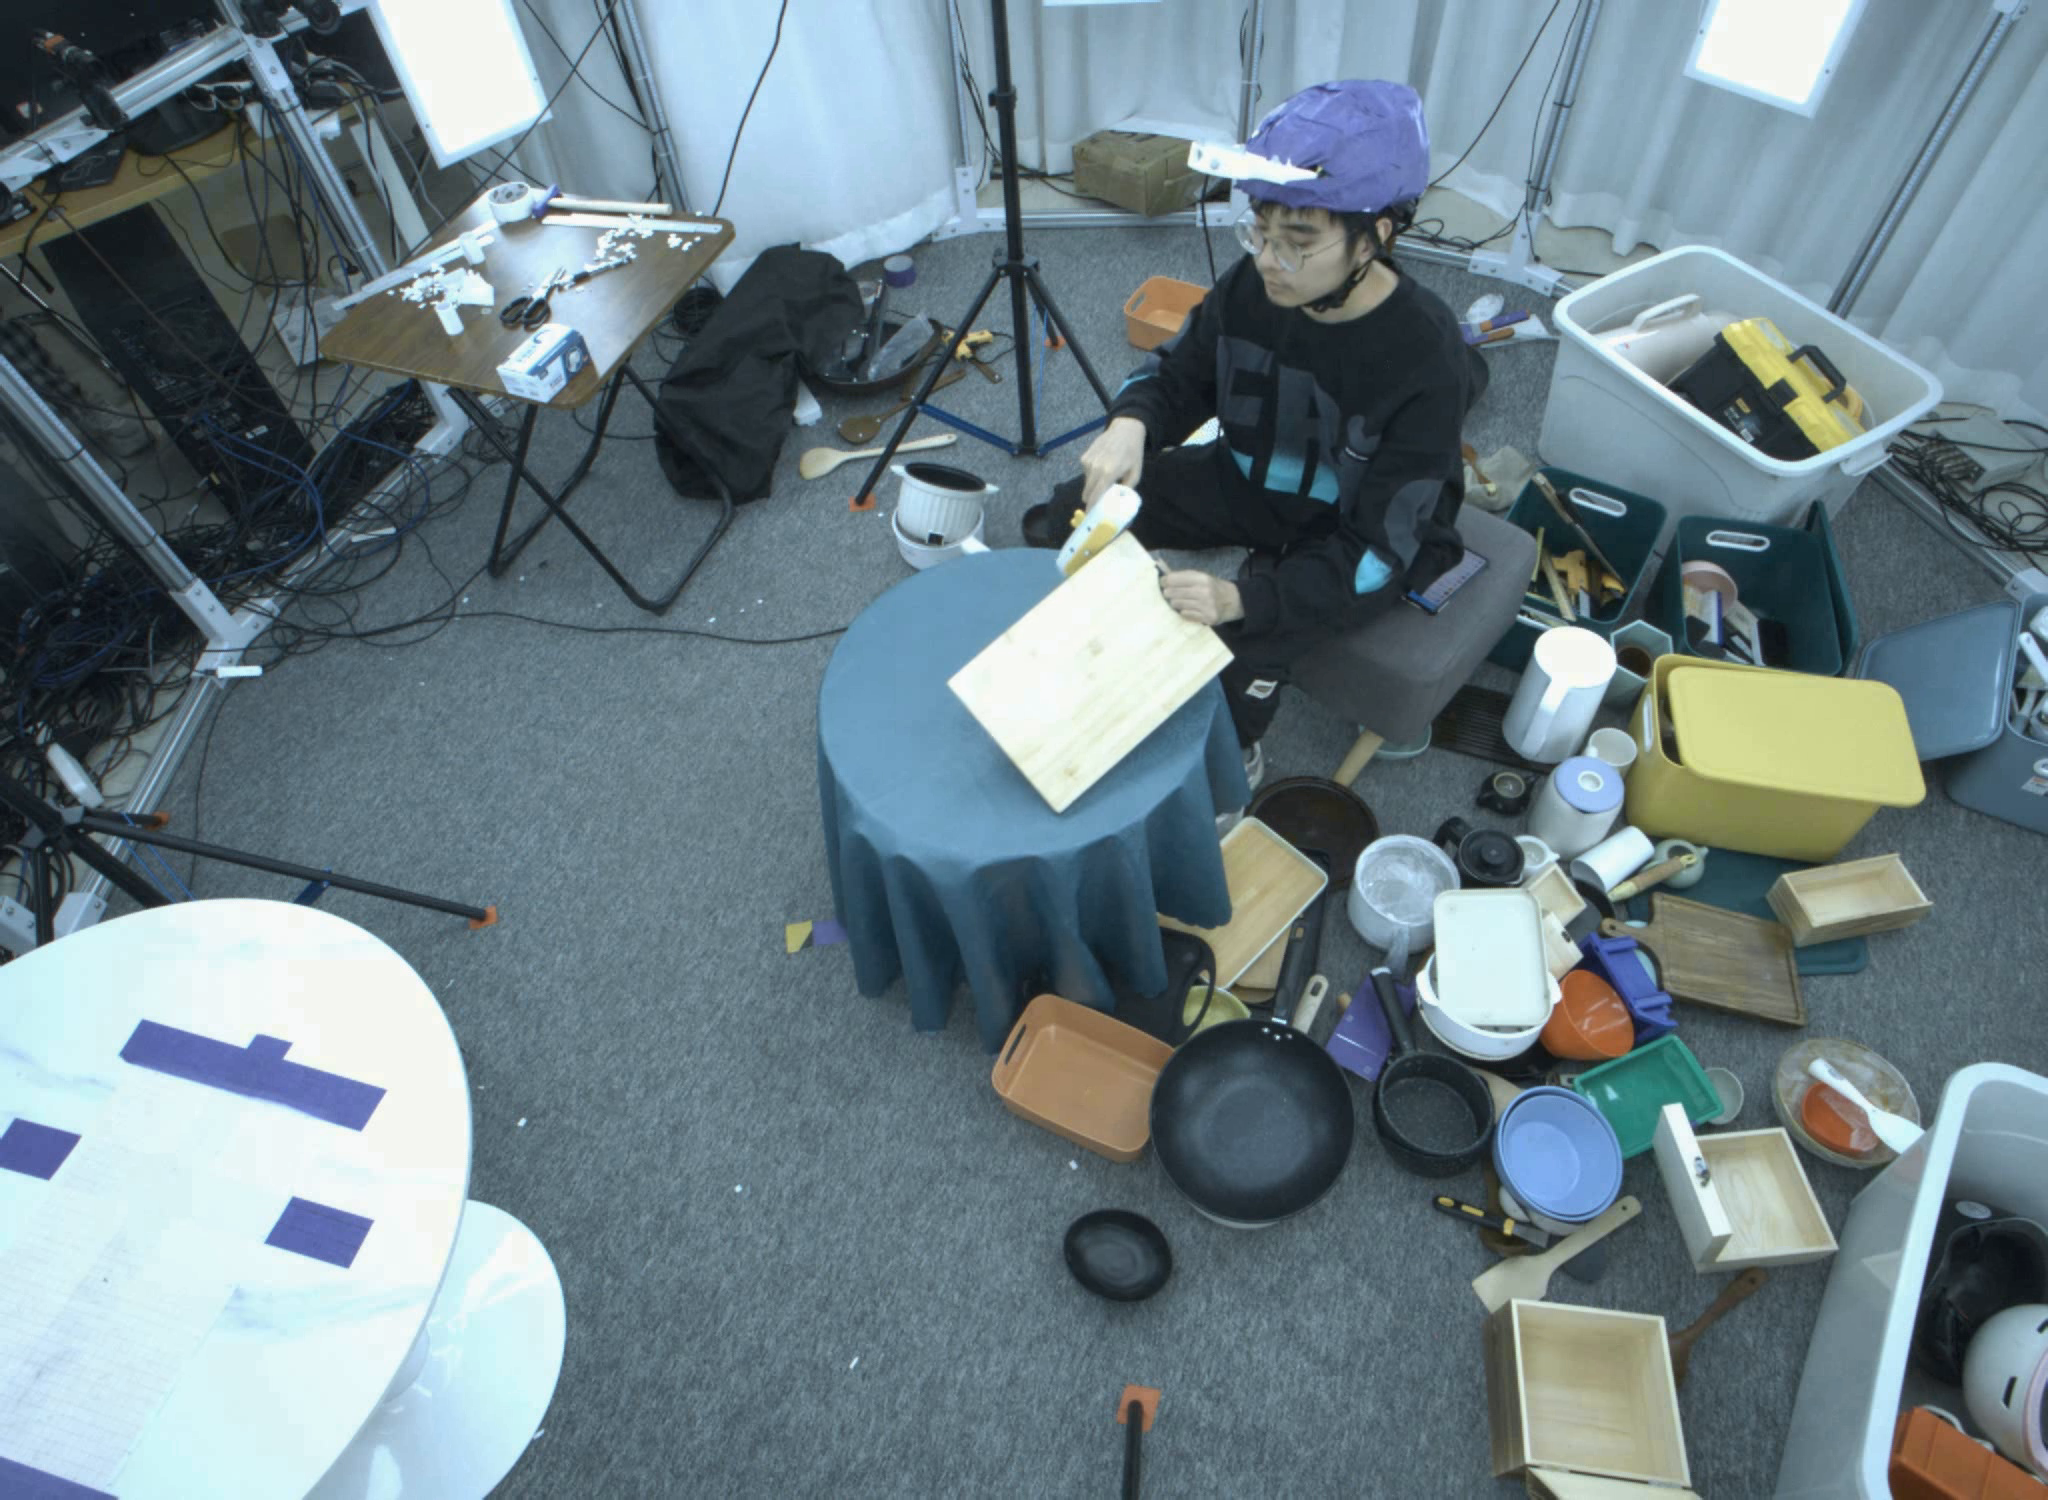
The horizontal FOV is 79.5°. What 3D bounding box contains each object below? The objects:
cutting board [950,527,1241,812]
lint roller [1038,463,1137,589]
[{"bbox_3d":[0.101,-0.115,1.729,0.349,0.023,0.252,-42,96,-9],"label":"cutting board"},{"bbox_3d":[0.096,-0.349,1.802,0.075,0.191,0.191,30,48,-13],"label":"lint roller"}]
